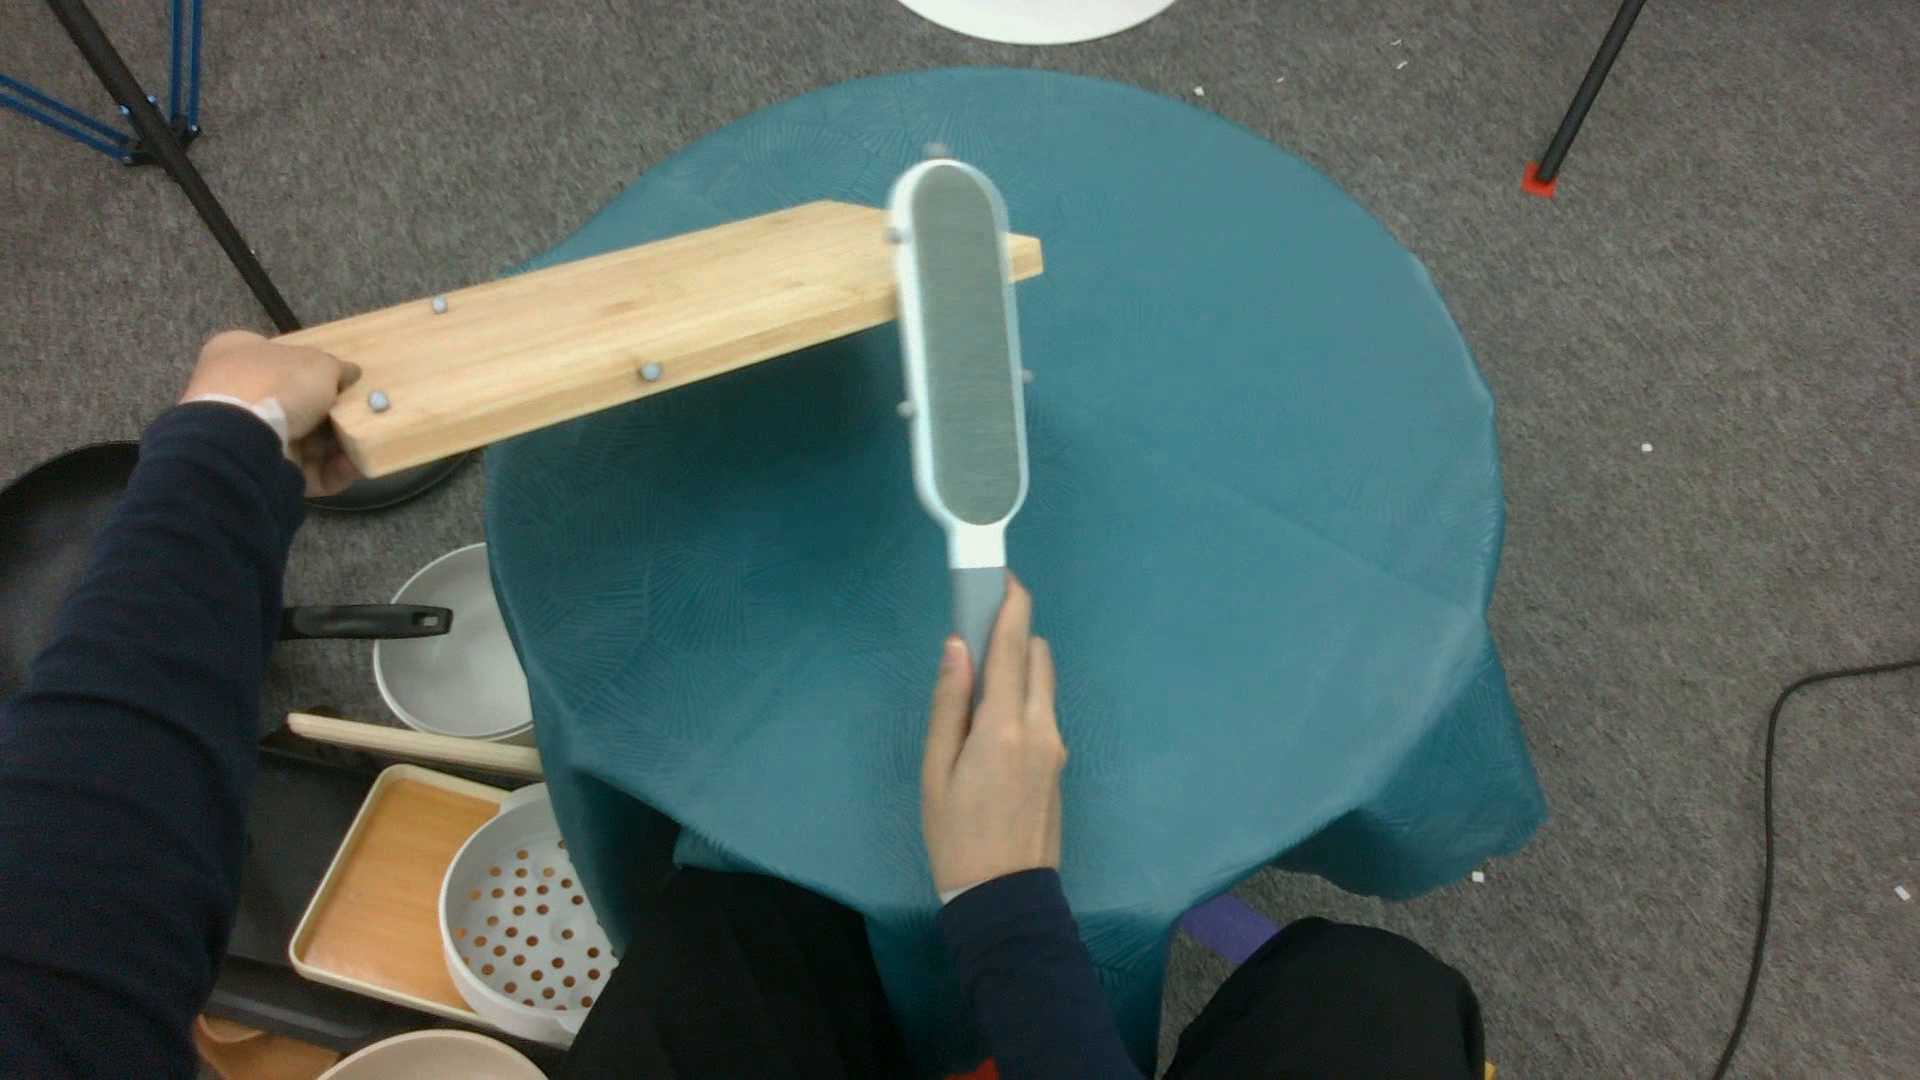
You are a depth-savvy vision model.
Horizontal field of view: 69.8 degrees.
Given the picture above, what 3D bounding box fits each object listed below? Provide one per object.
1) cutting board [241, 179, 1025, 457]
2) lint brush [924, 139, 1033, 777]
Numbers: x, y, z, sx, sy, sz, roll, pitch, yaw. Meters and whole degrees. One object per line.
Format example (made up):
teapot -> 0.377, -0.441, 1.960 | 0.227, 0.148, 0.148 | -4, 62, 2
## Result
cutting board -> -0.171, -0.132, 0.718 | 0.350, 0.023, 0.250 | -22, 28, -28
lint brush -> 0.008, -0.040, 0.665 | 0.060, 0.021, 0.309 | 1, 88, -34
